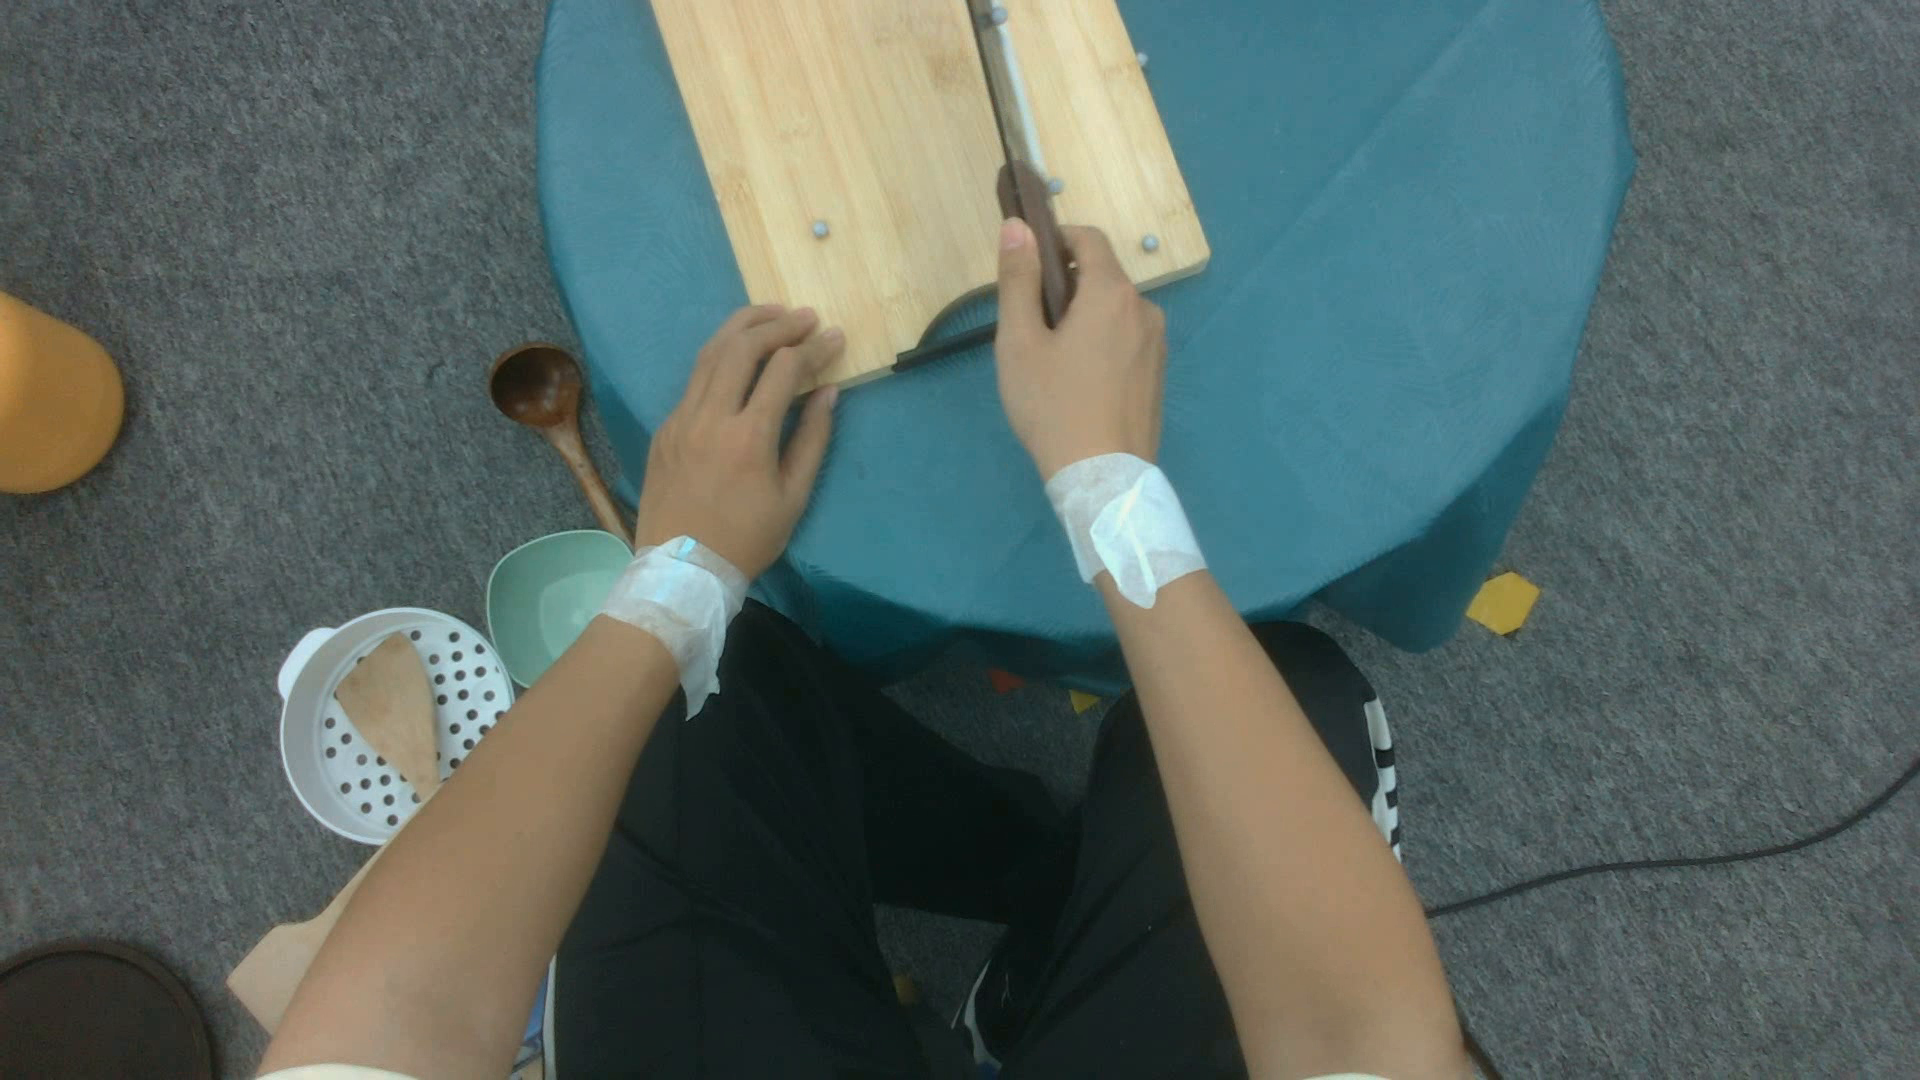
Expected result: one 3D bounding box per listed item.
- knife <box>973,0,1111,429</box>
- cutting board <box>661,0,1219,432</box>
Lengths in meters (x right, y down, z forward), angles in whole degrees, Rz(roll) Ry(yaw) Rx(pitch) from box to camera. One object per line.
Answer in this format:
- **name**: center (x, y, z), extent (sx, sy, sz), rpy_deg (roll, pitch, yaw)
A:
- **knife**: center (0.035, -0.197, 0.691), extent (0.024, 0.068, 0.300), rpy_deg (-16, 82, 20)
- **cutting board**: center (-0.028, -0.258, 0.775), extent (0.251, 0.023, 0.349), rpy_deg (-20, 80, -3)
